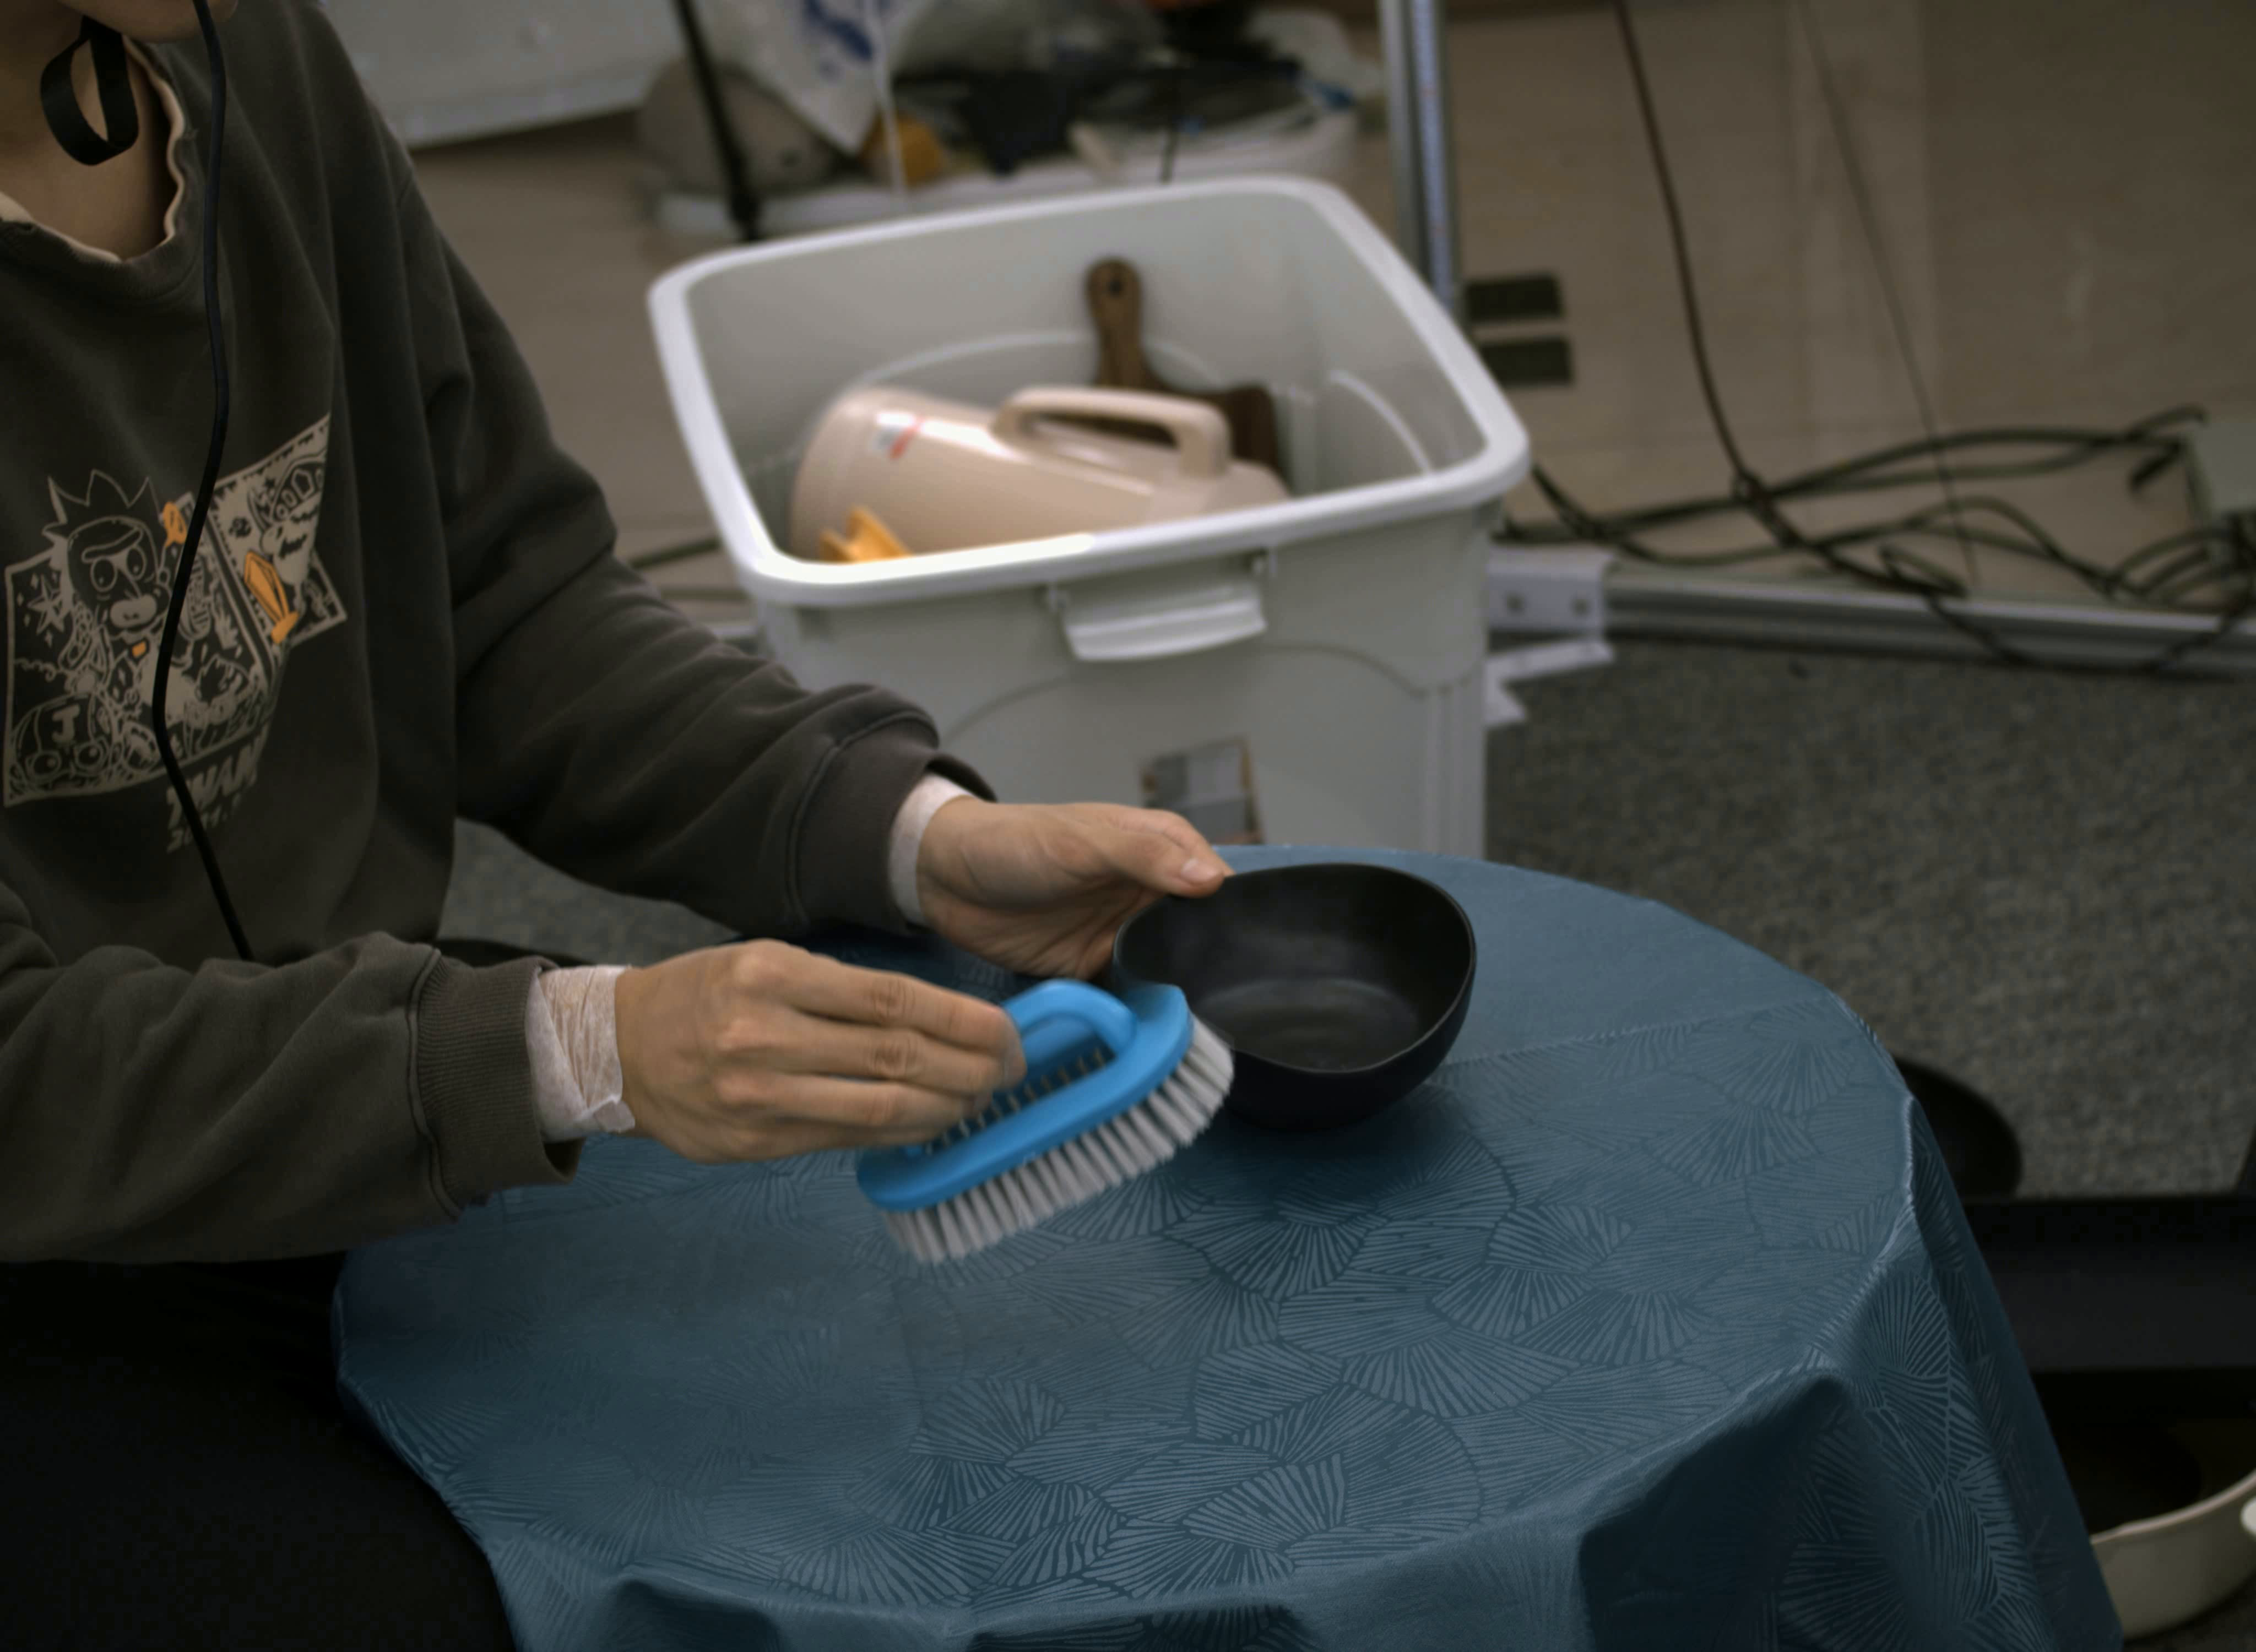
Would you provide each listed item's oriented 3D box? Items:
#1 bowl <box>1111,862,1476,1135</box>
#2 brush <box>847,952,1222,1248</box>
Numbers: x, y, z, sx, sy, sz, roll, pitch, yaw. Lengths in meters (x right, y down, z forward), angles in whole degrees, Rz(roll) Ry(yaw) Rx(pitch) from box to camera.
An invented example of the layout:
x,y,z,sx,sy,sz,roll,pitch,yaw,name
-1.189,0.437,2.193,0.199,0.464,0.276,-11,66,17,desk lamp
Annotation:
x,y,z,sx,sy,sz,roll,pitch,yaw,name
0.068,0.074,2.193,0.137,0.068,0.168,-14,28,-15,bowl
-0.040,0.089,2.015,0.142,0.064,0.083,-27,32,17,brush
